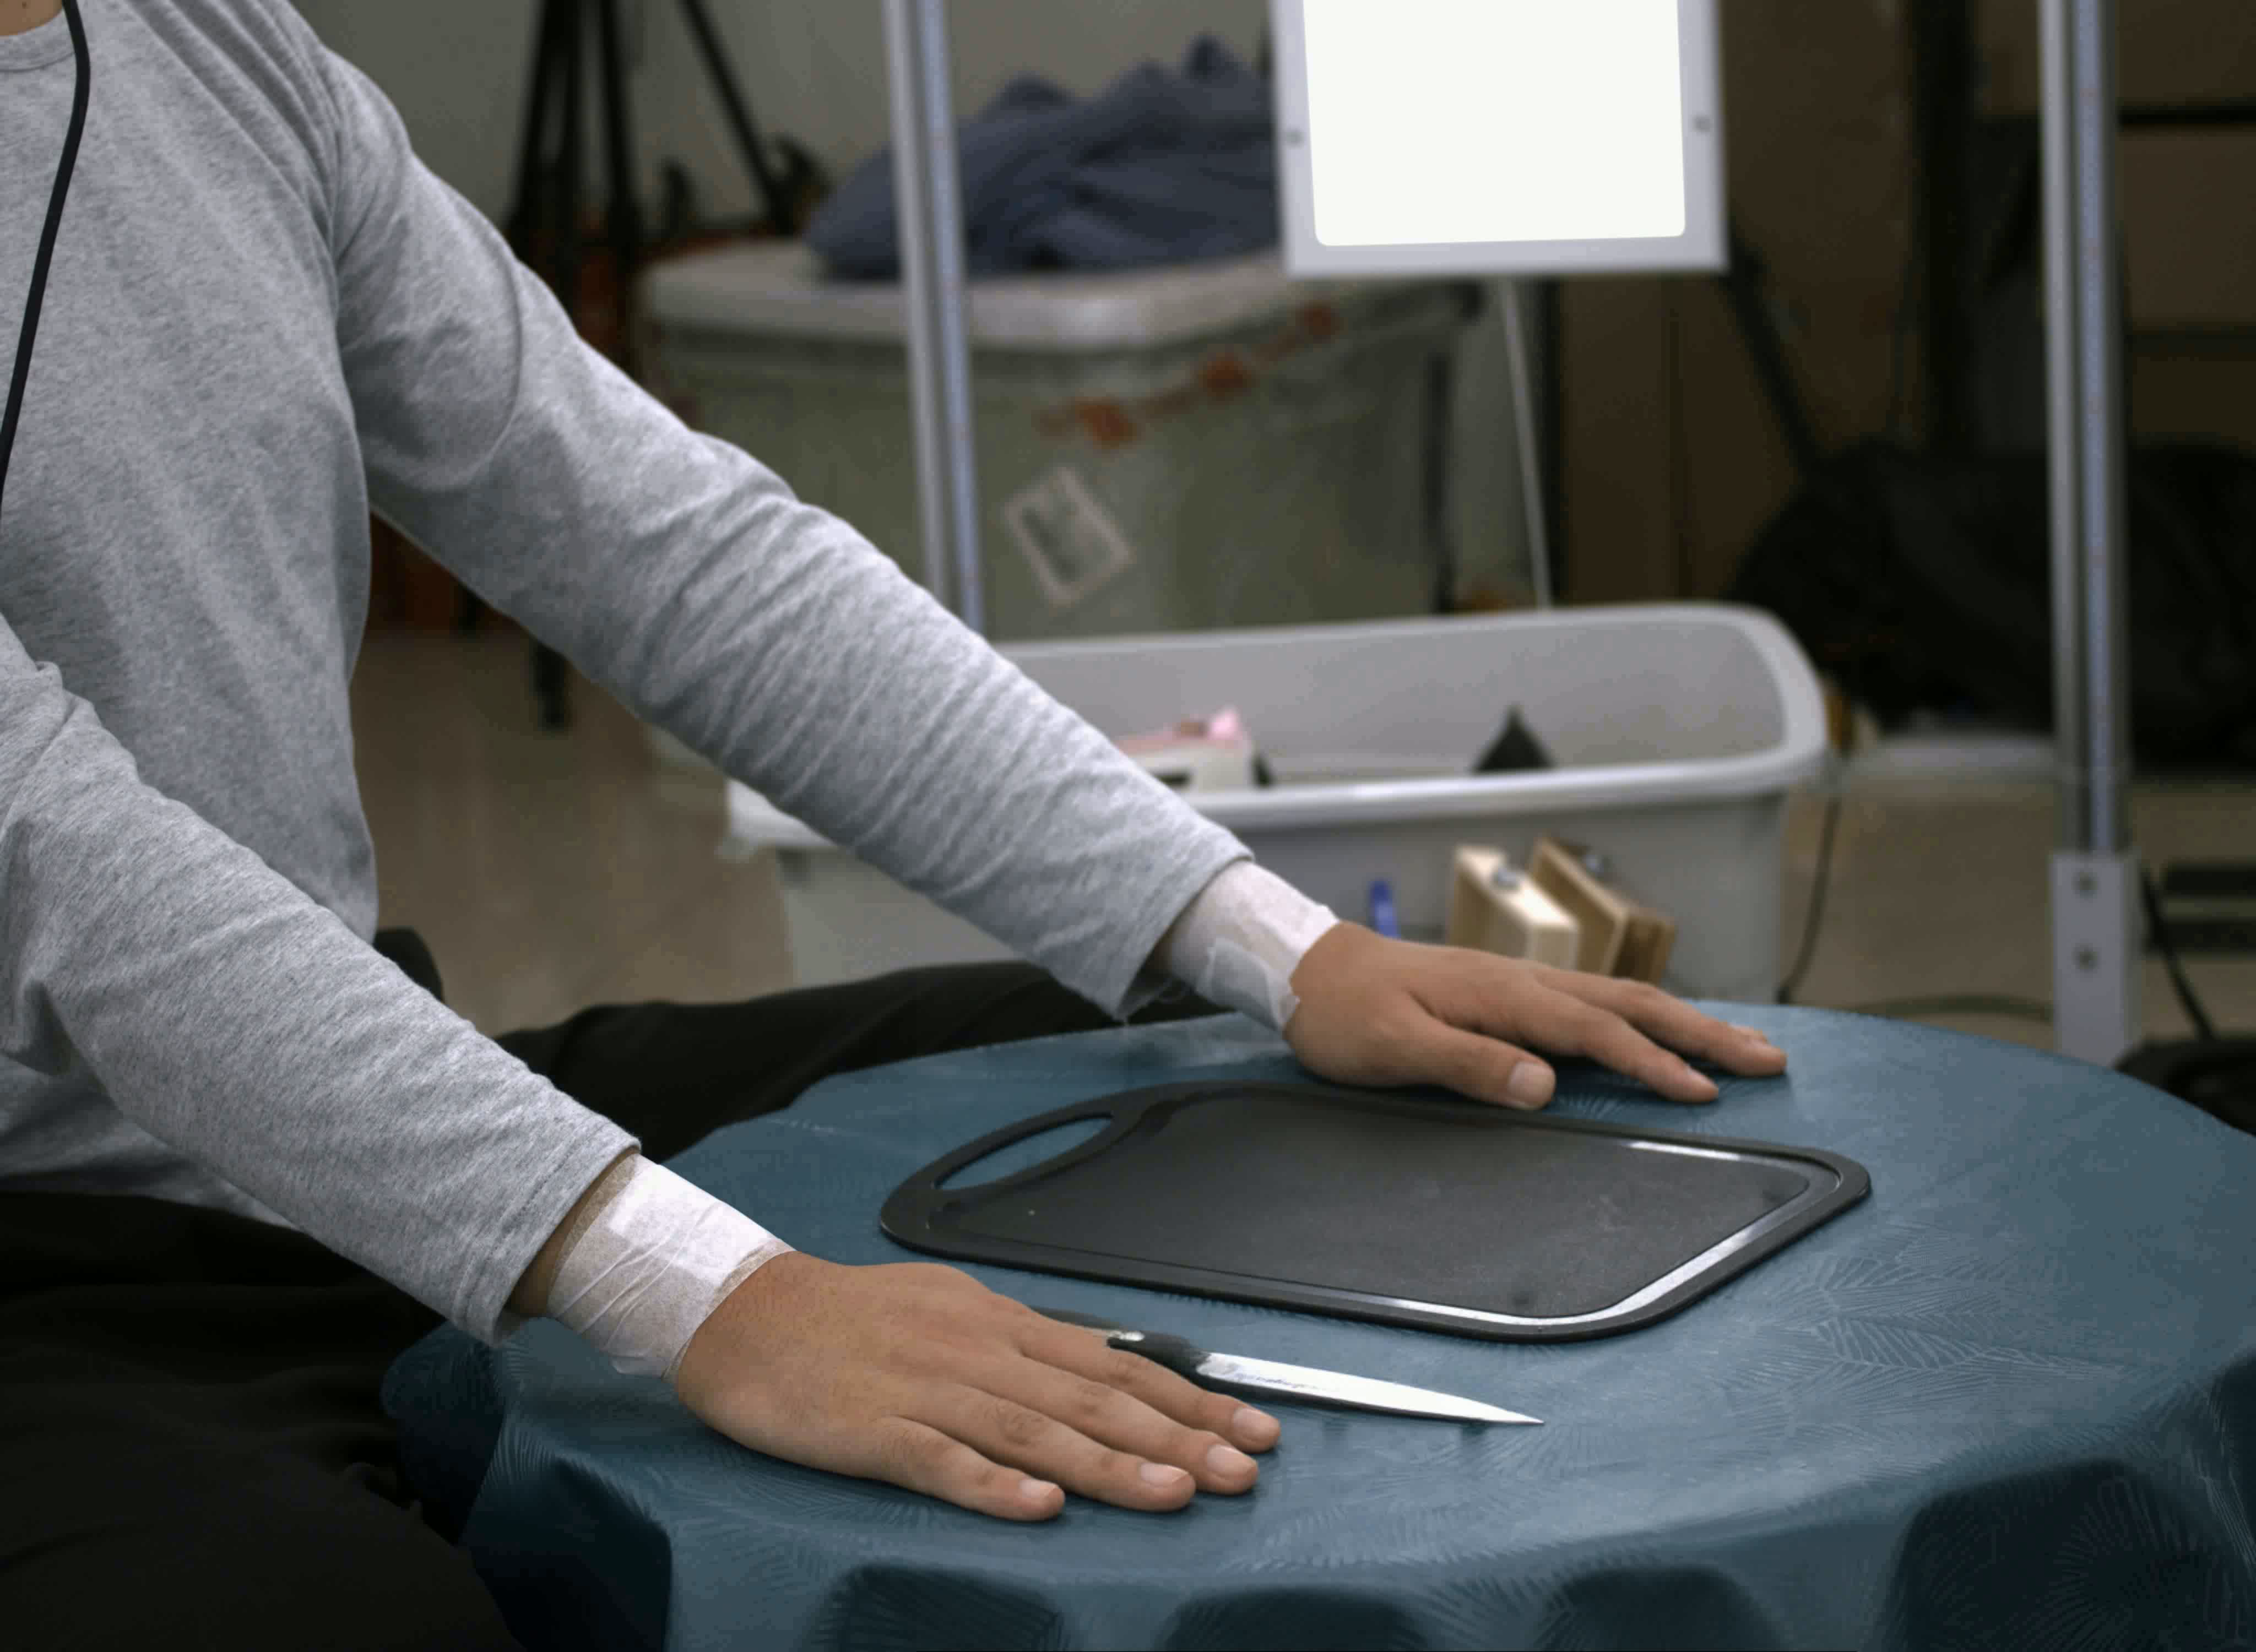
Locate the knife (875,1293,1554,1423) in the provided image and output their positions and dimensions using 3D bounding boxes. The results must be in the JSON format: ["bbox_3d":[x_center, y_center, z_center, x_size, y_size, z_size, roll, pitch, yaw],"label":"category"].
[{"bbox_3d":[0.022,0.168,1.704,0.242,0.016,0.024,6,18,30],"label":"knife"}]

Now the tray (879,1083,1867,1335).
[{"bbox_3d":[0.074,0.125,1.869,0.332,0.010,0.206,5,17,37],"label":"tray"}]
